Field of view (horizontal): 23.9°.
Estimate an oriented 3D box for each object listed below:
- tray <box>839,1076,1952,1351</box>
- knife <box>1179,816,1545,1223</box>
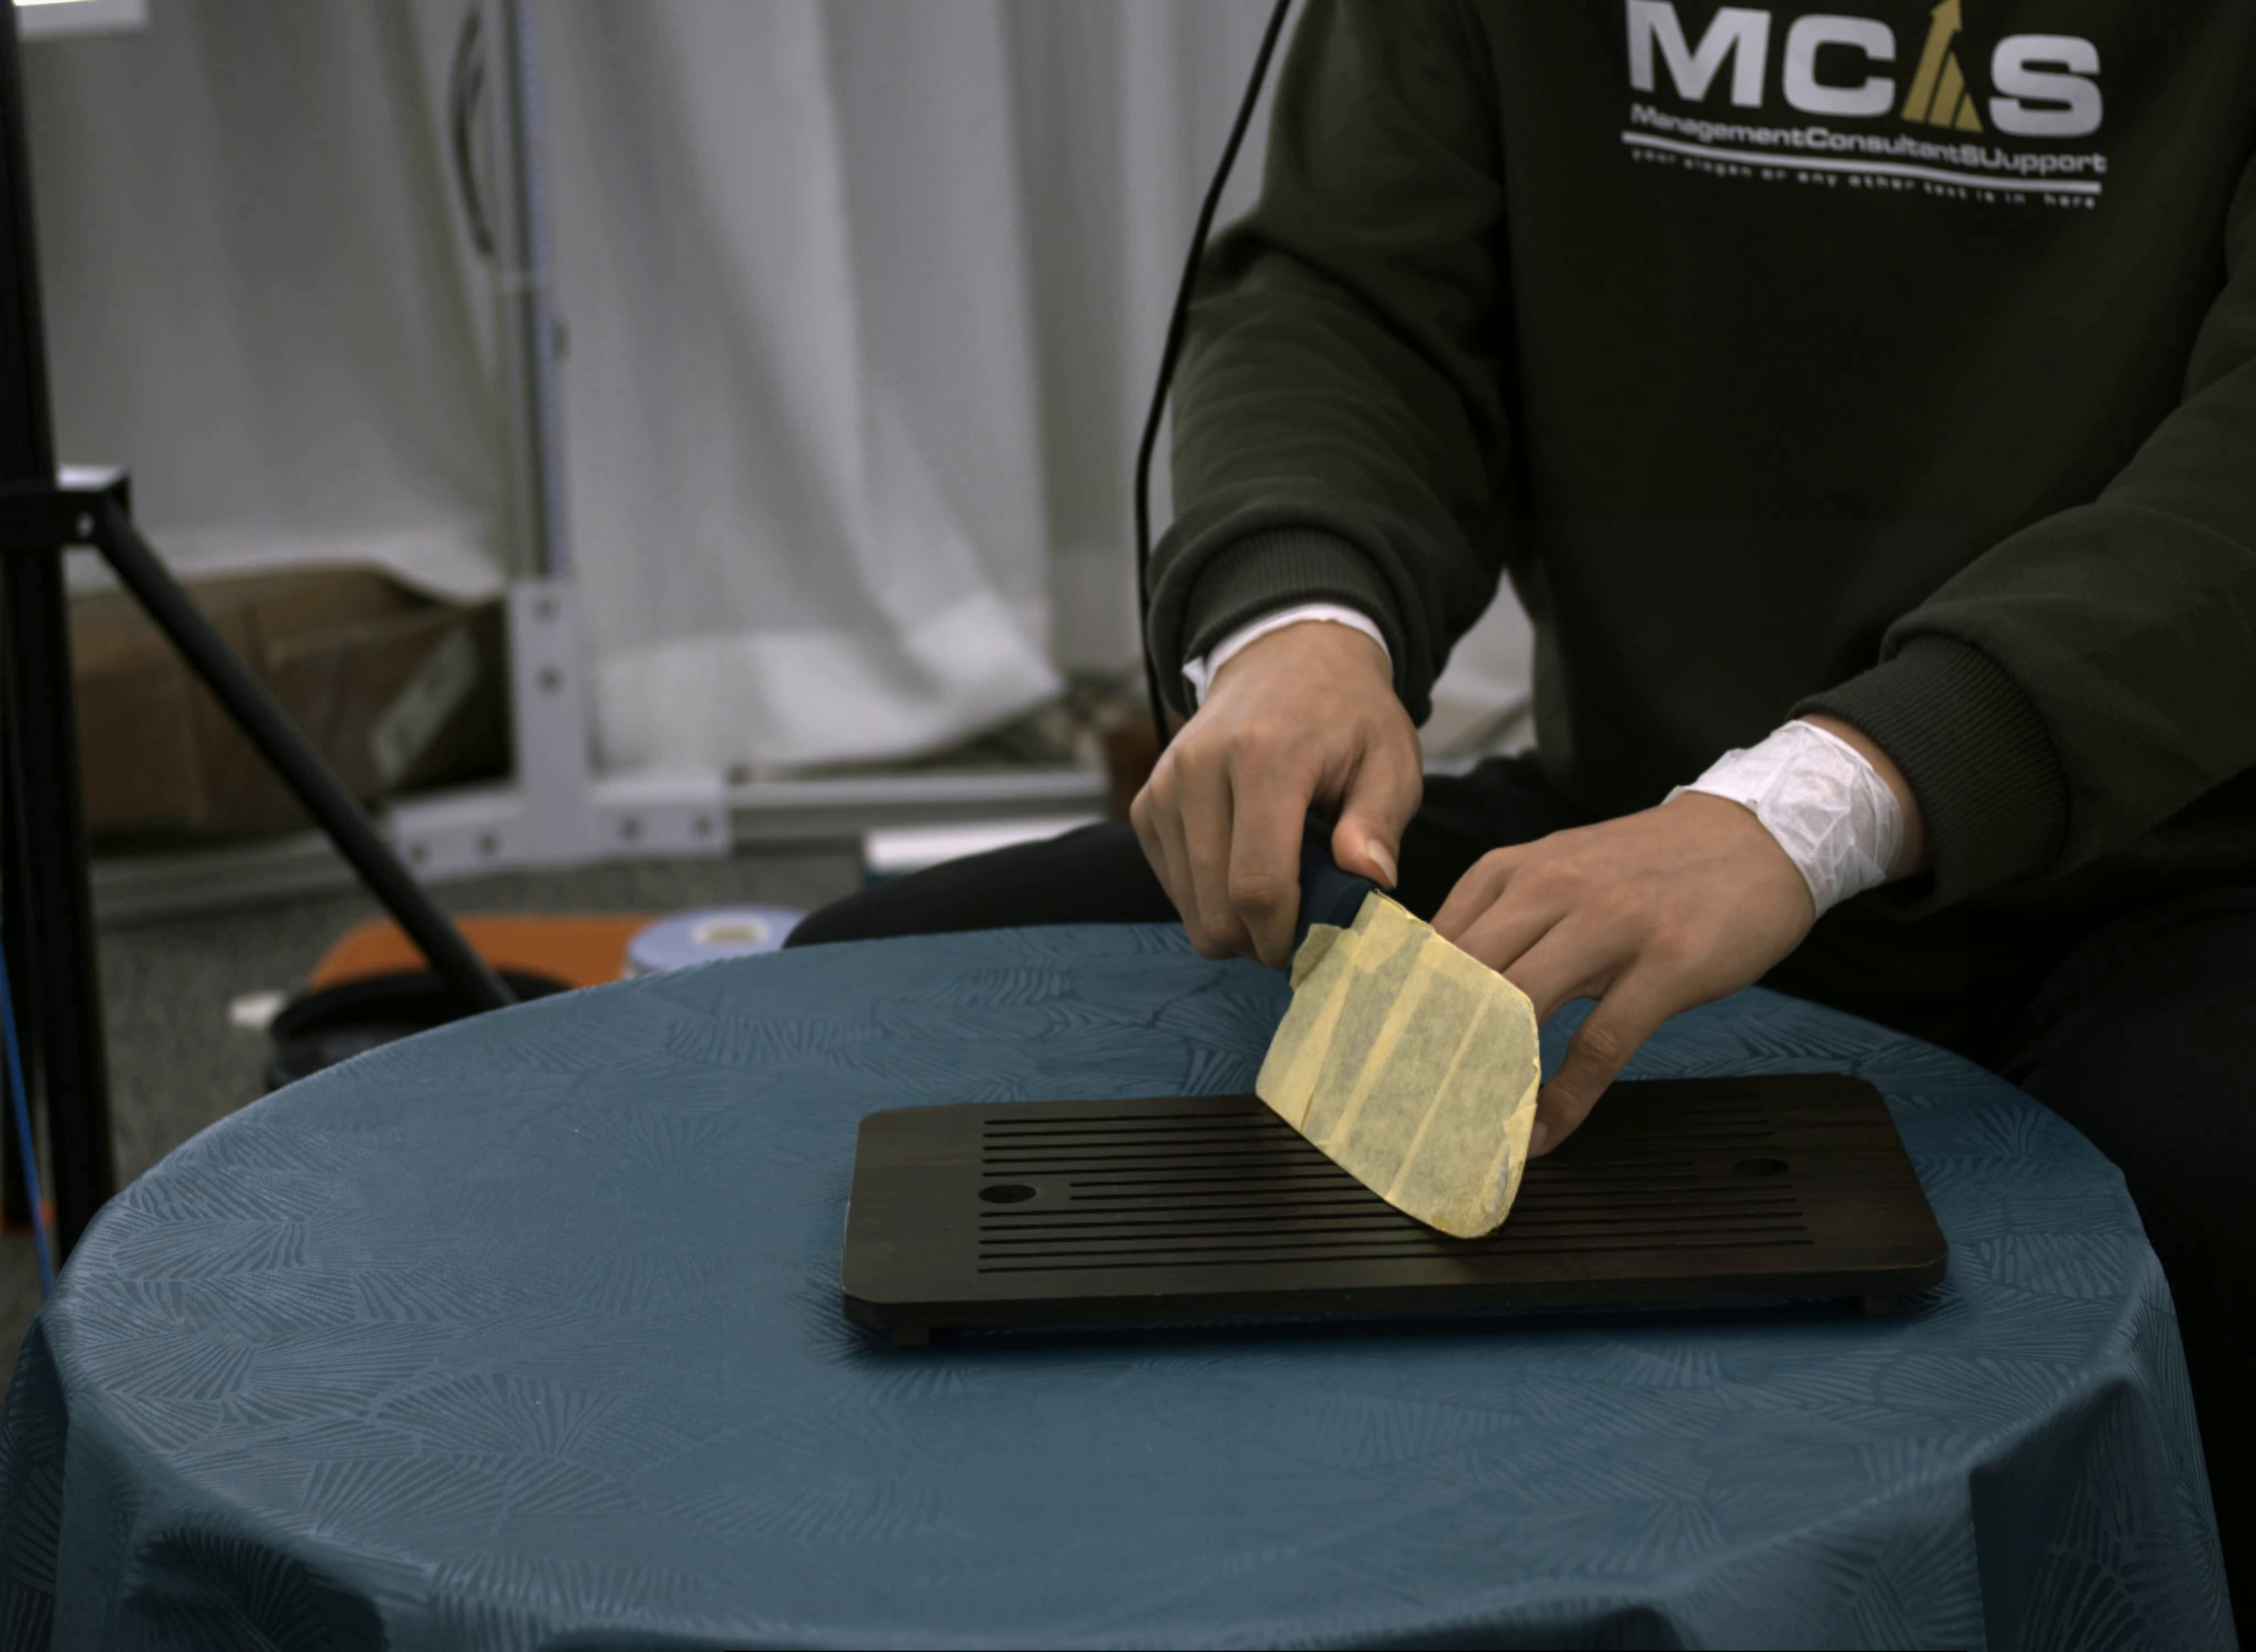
[{"bbox_3d":[0.073,0.110,1.509,0.305,0.018,0.170,-2,15,2],"label":"tray"},{"bbox_3d":[0.063,0.053,1.568,0.027,0.081,0.294,27,7,-23],"label":"knife"}]
